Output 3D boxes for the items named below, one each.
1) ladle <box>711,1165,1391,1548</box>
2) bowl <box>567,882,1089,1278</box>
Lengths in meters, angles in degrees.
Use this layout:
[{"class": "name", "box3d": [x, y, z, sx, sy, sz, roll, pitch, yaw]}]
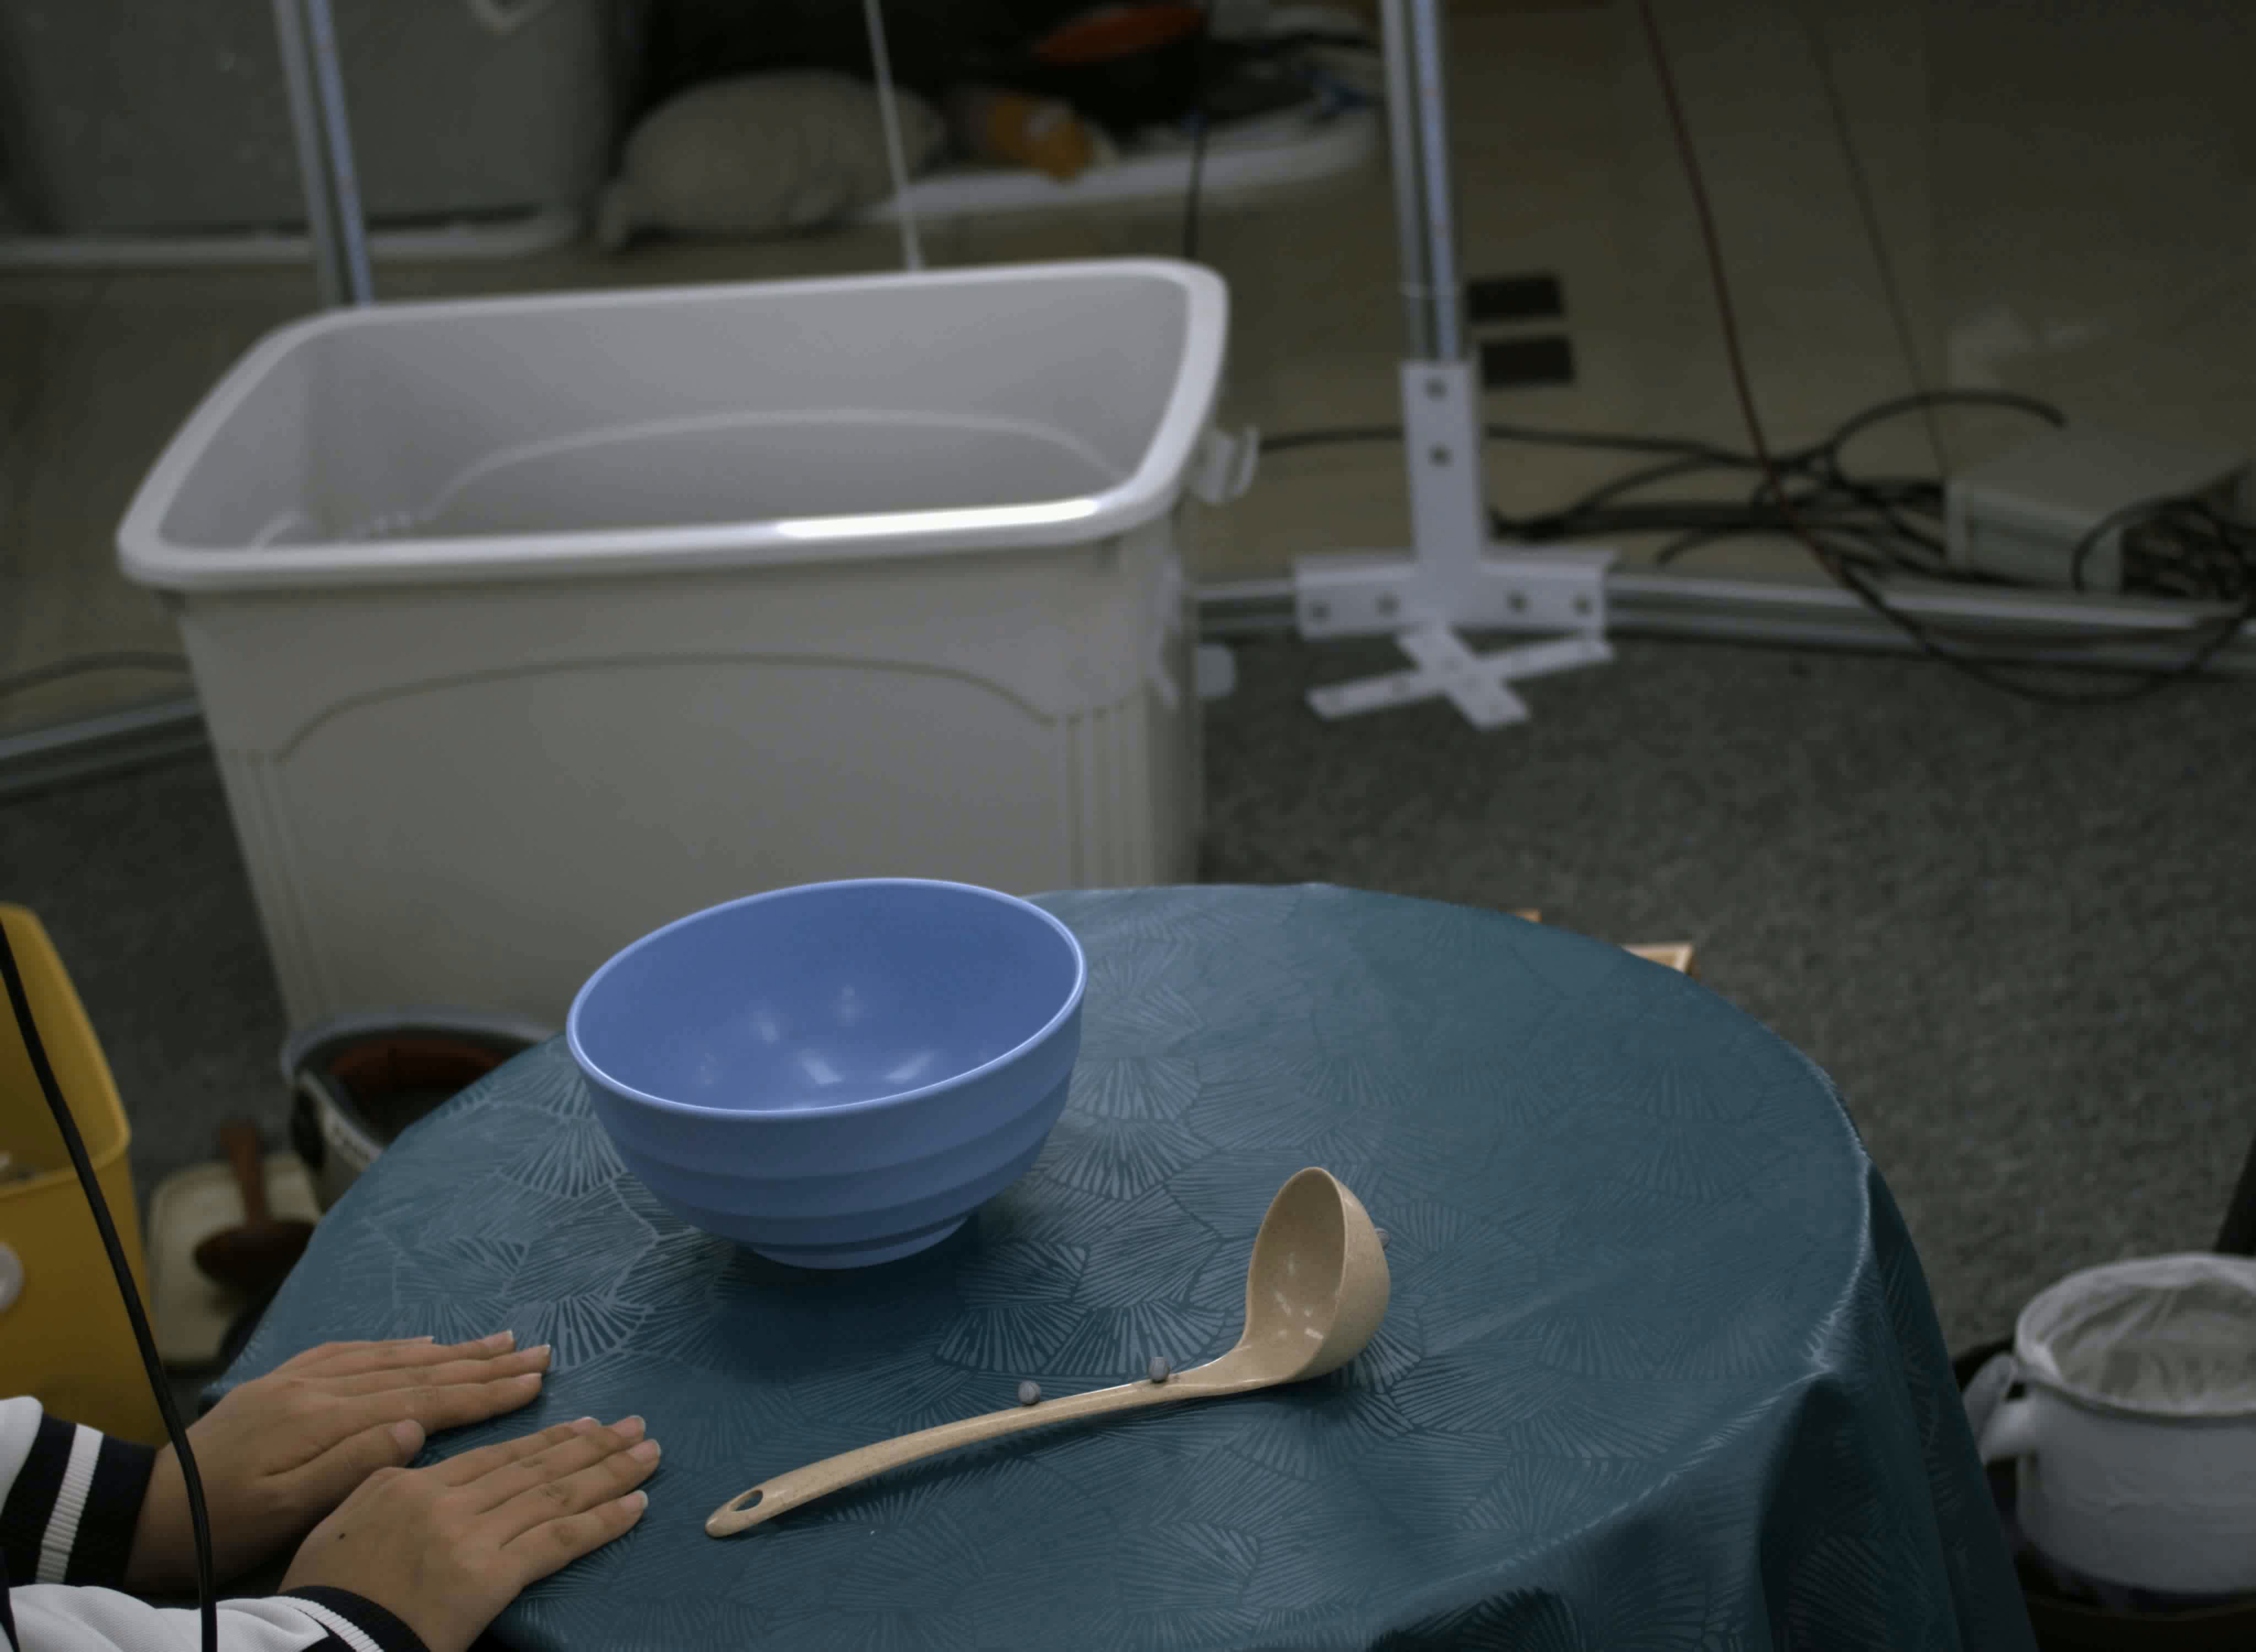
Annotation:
[{"class": "ladle", "box3d": [-0.030, 0.182, 1.975, 0.253, 0.074, 0.071, -15, 26, -17]}, {"class": "bowl", "box3d": [-0.108, 0.107, 2.138, 0.196, 0.097, 0.193, -5, 27, 2]}]
